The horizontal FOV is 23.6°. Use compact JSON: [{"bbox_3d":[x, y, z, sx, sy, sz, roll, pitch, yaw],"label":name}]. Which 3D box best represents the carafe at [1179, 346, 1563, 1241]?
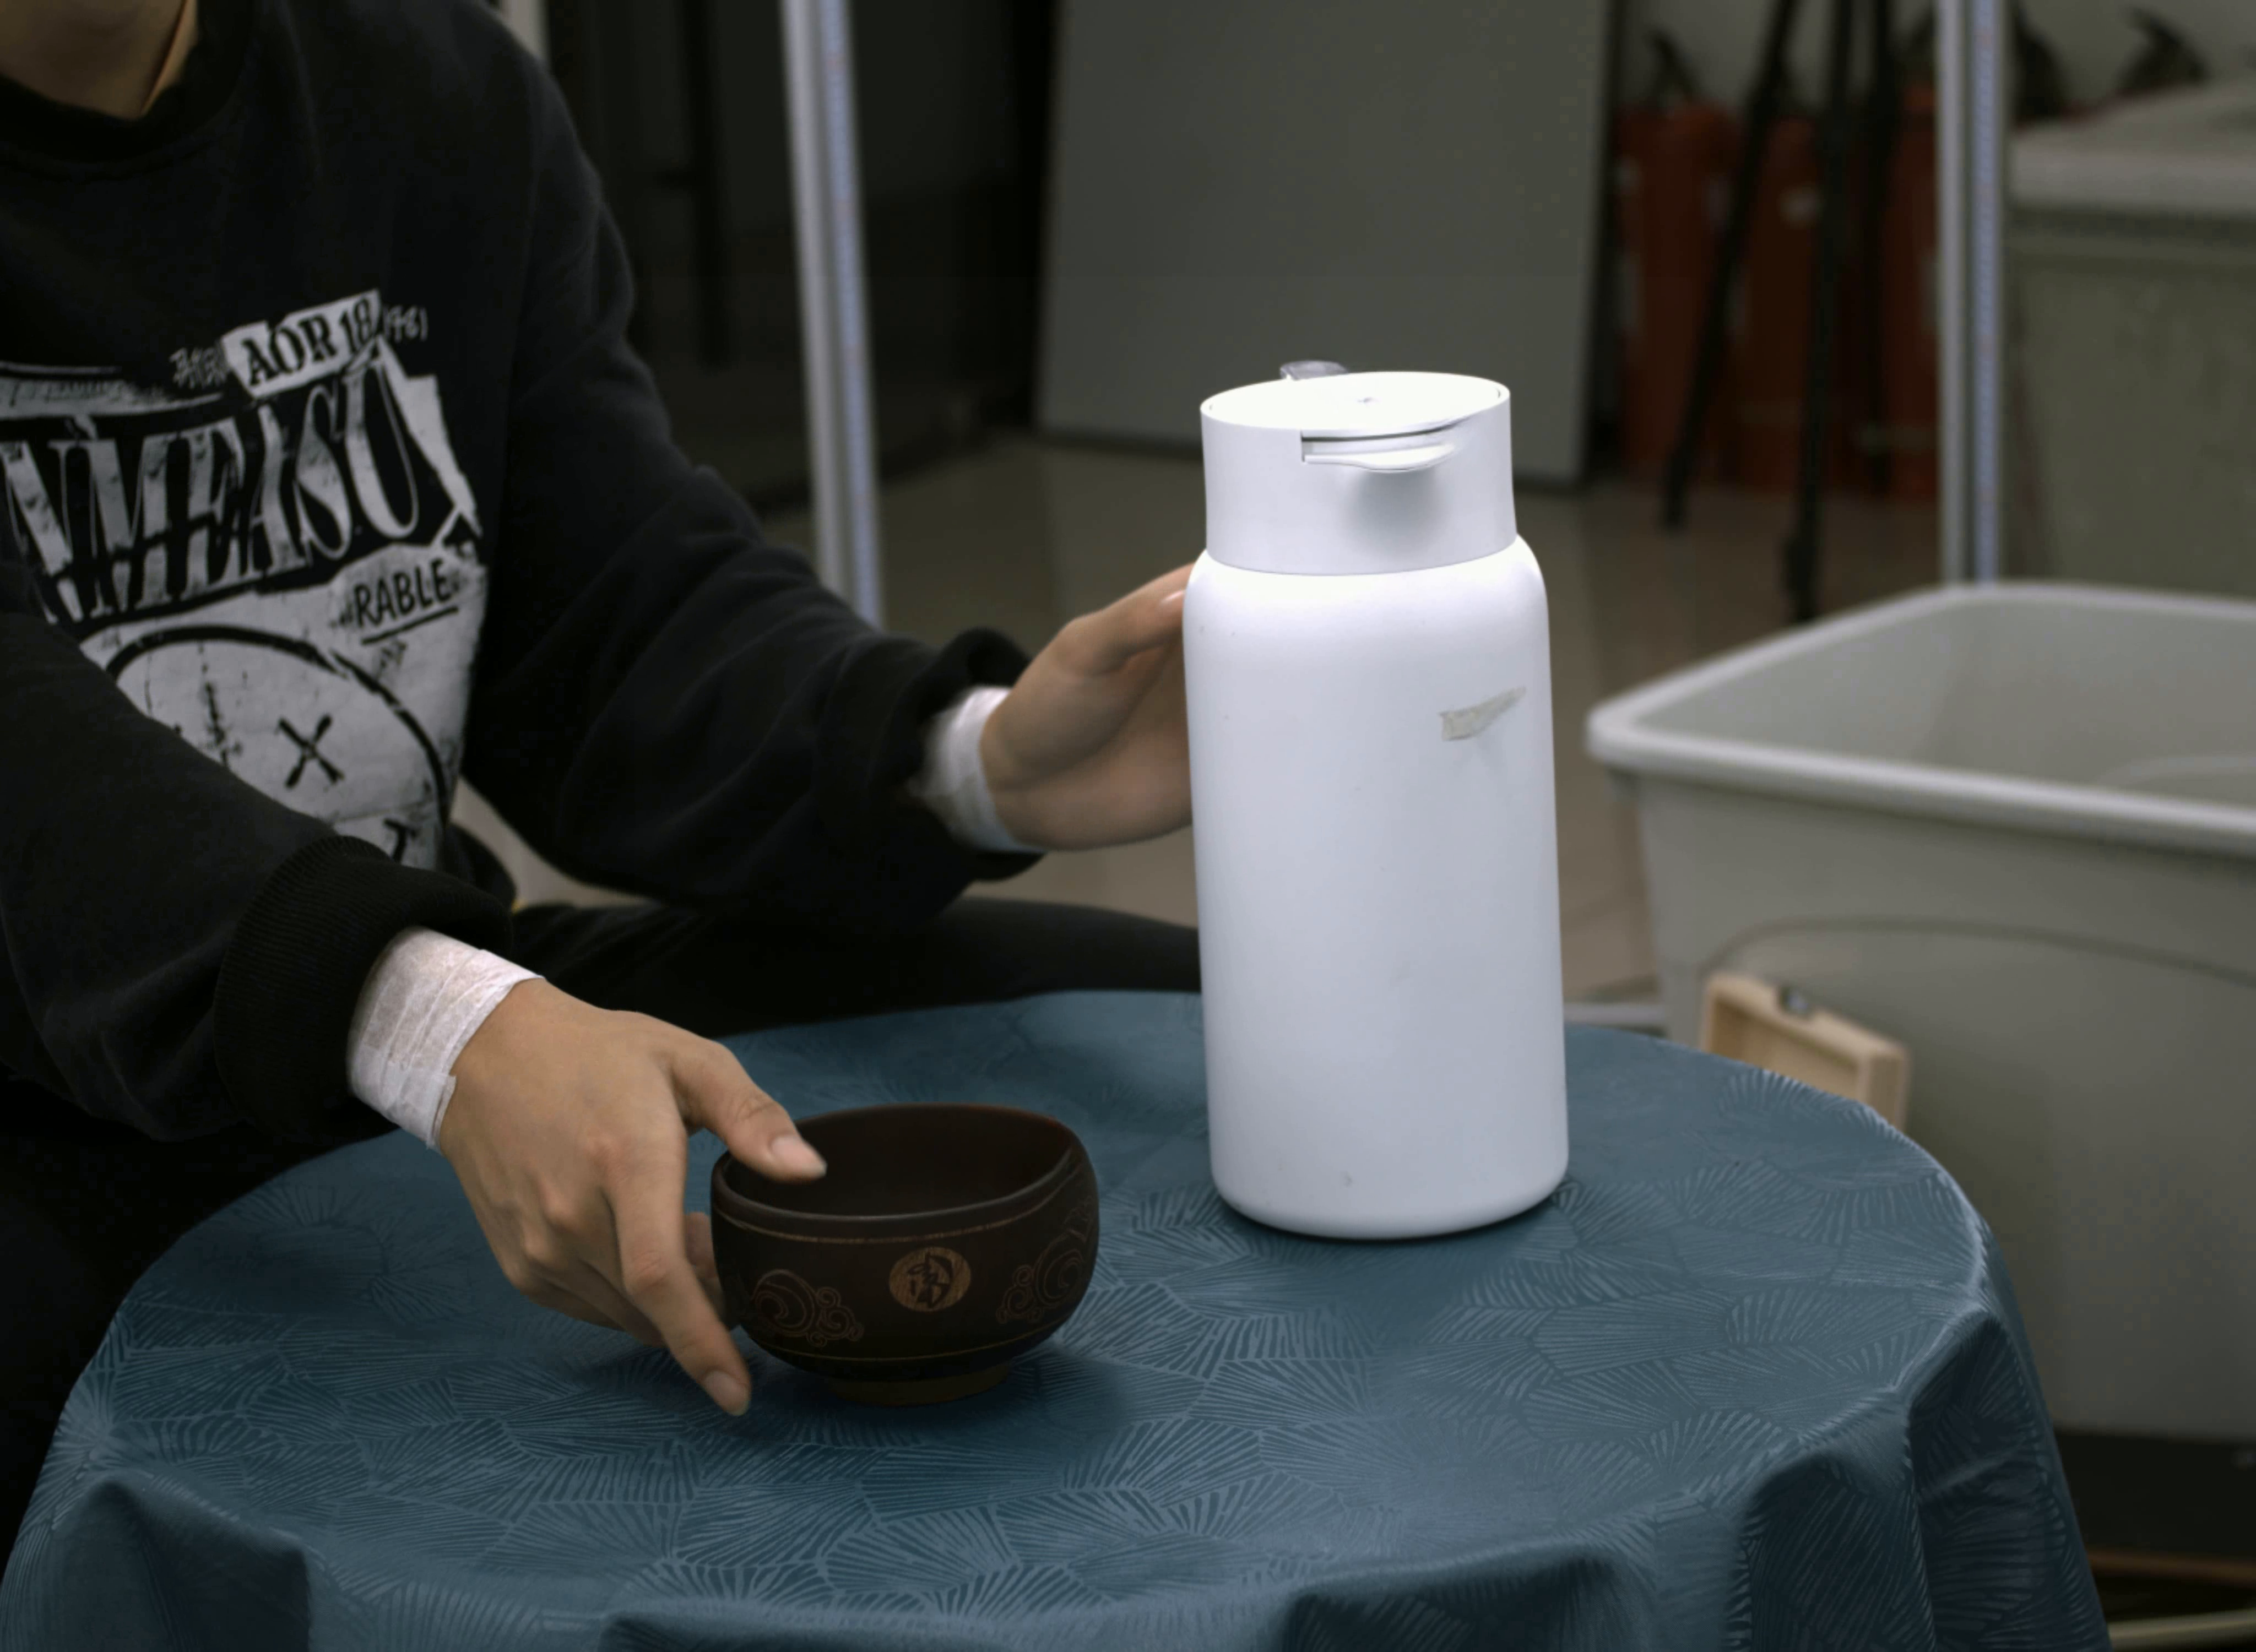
[{"bbox_3d":[0.072,-0.014,1.739,0.122,0.272,0.174,-8,14,-10],"label":"carafe"}]

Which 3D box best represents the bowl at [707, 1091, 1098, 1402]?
[{"bbox_3d":[-0.065,0.129,1.608,0.116,0.070,0.118,-5,13,0],"label":"bowl"}]
